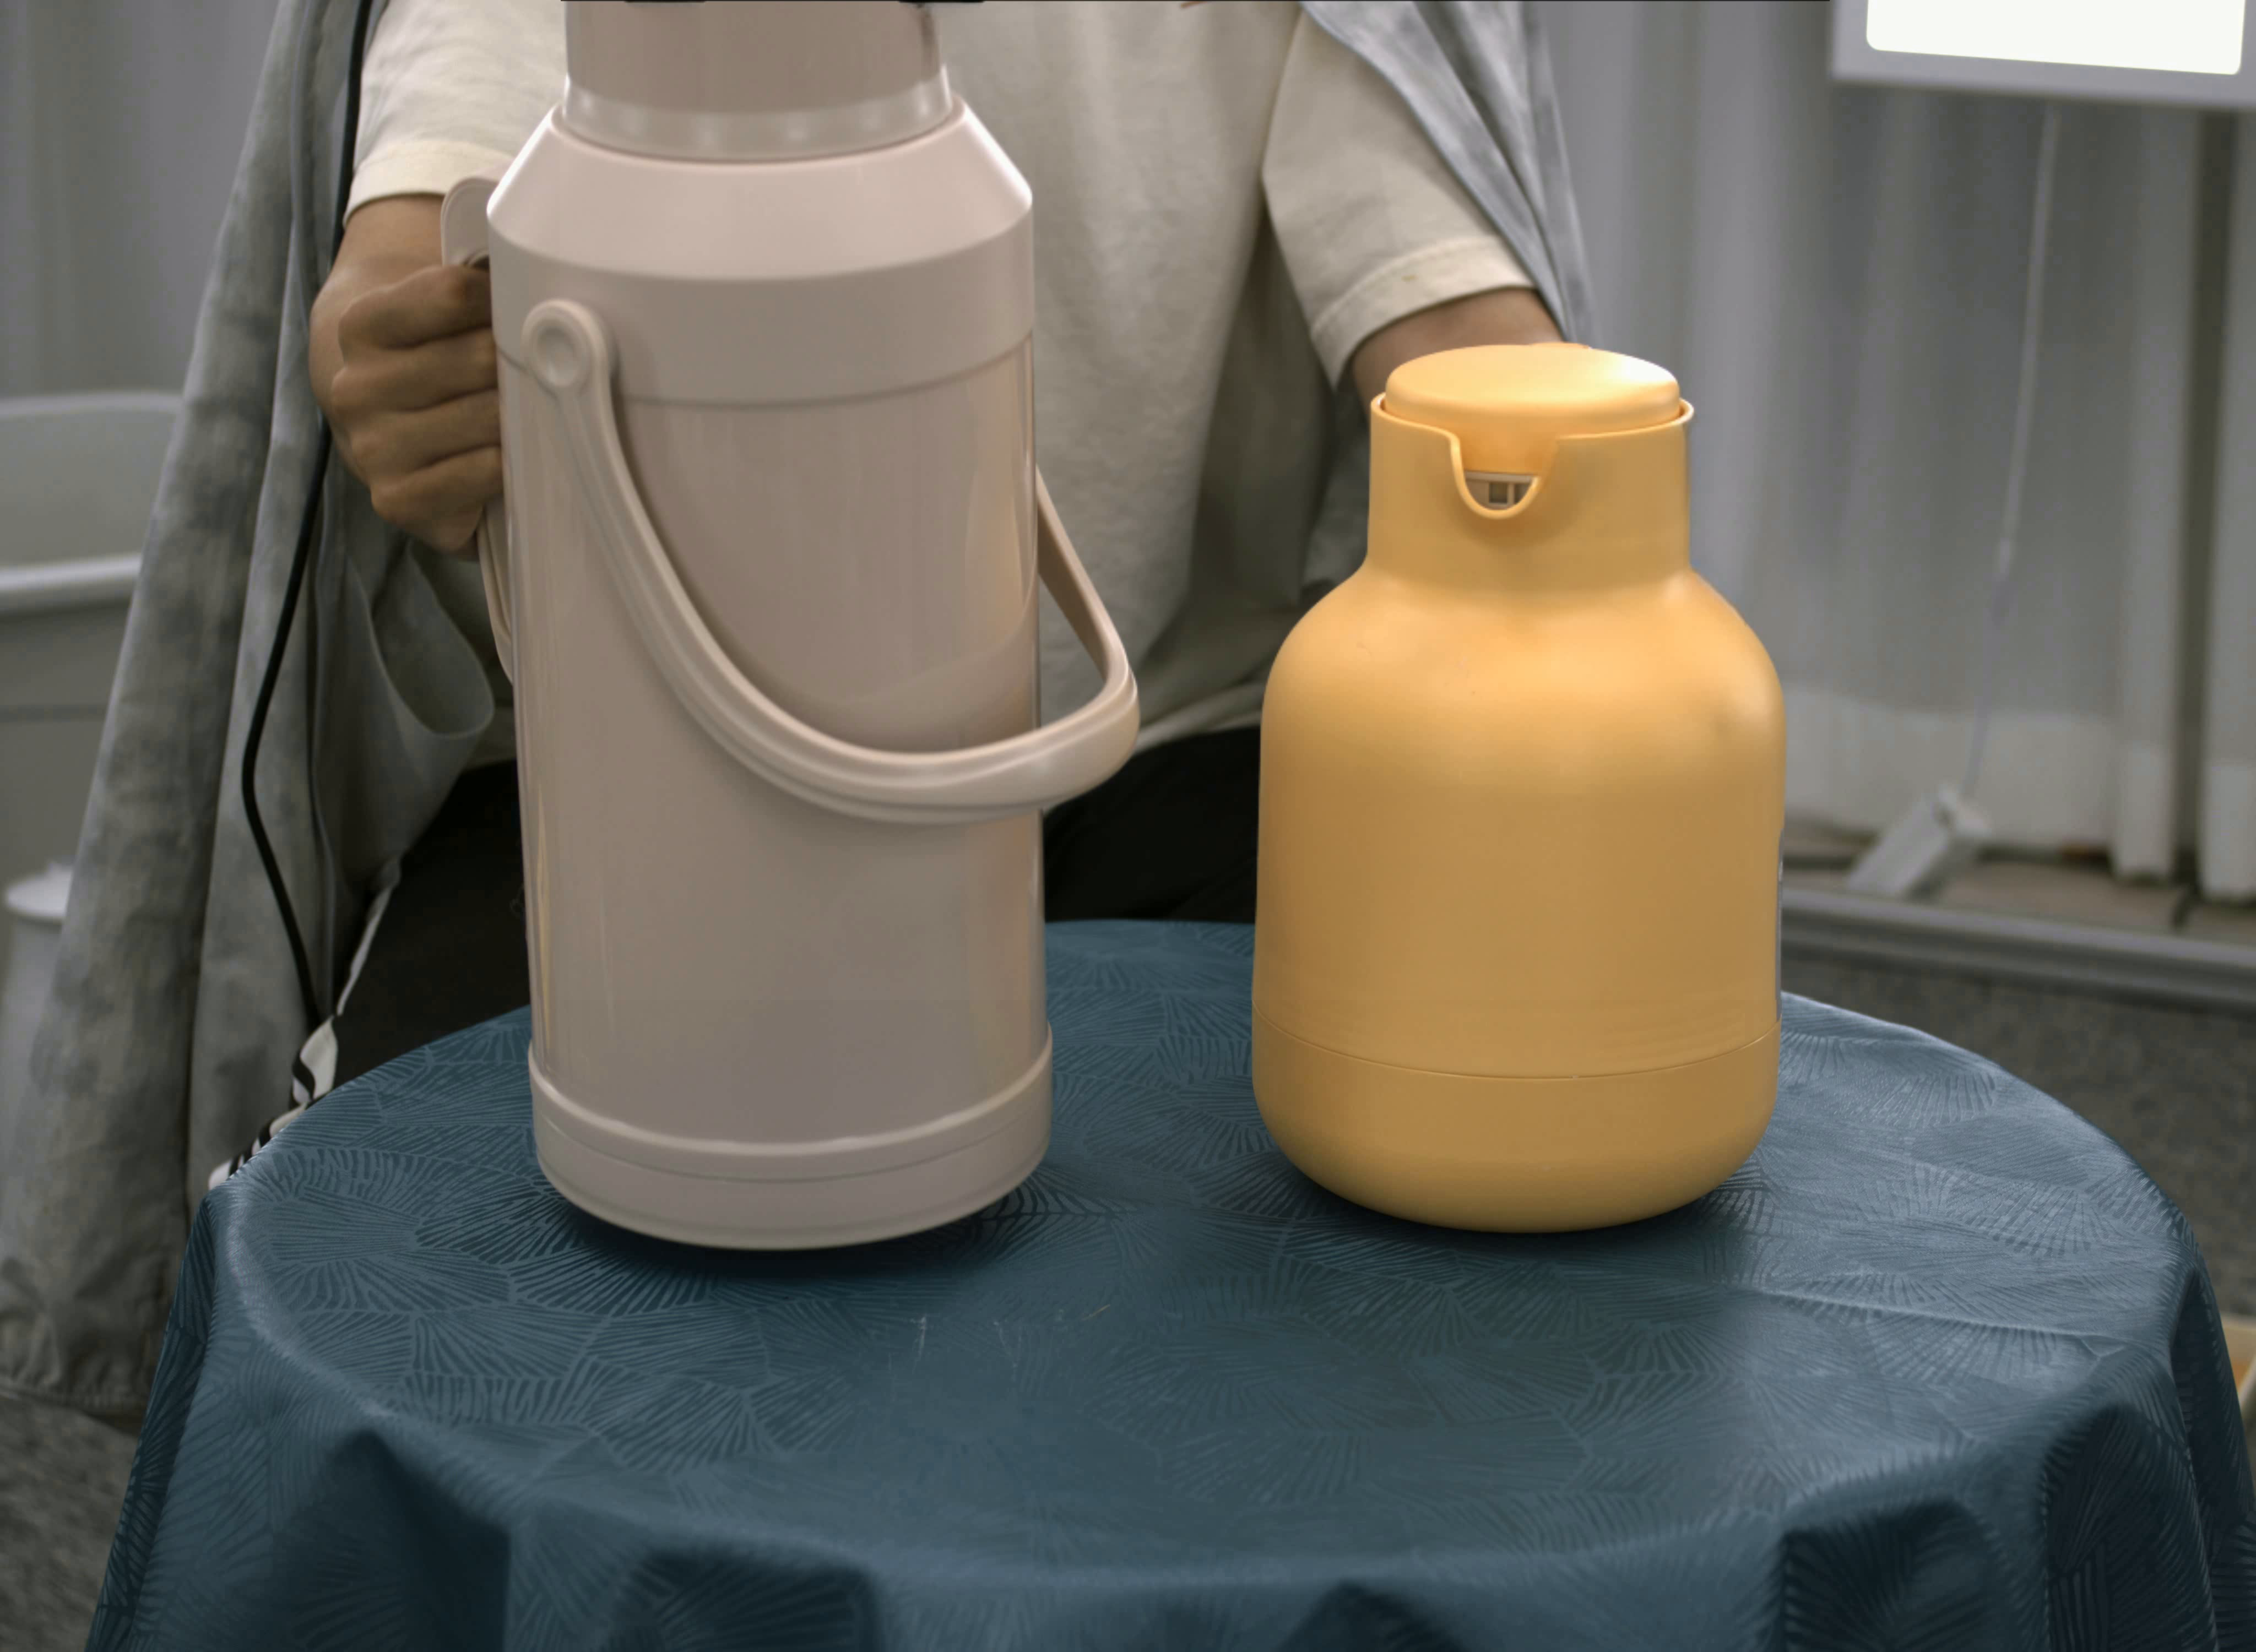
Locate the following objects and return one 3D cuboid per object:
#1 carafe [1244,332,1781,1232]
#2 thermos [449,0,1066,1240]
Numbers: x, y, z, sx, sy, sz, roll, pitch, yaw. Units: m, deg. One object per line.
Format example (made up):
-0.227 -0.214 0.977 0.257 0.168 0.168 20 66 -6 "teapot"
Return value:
0.124 -0.022 1.624 0.162 0.262 0.202 6 18 12 "carafe"
-0.115 -0.095 1.542 0.204 0.410 0.176 16 29 34 "thermos"
